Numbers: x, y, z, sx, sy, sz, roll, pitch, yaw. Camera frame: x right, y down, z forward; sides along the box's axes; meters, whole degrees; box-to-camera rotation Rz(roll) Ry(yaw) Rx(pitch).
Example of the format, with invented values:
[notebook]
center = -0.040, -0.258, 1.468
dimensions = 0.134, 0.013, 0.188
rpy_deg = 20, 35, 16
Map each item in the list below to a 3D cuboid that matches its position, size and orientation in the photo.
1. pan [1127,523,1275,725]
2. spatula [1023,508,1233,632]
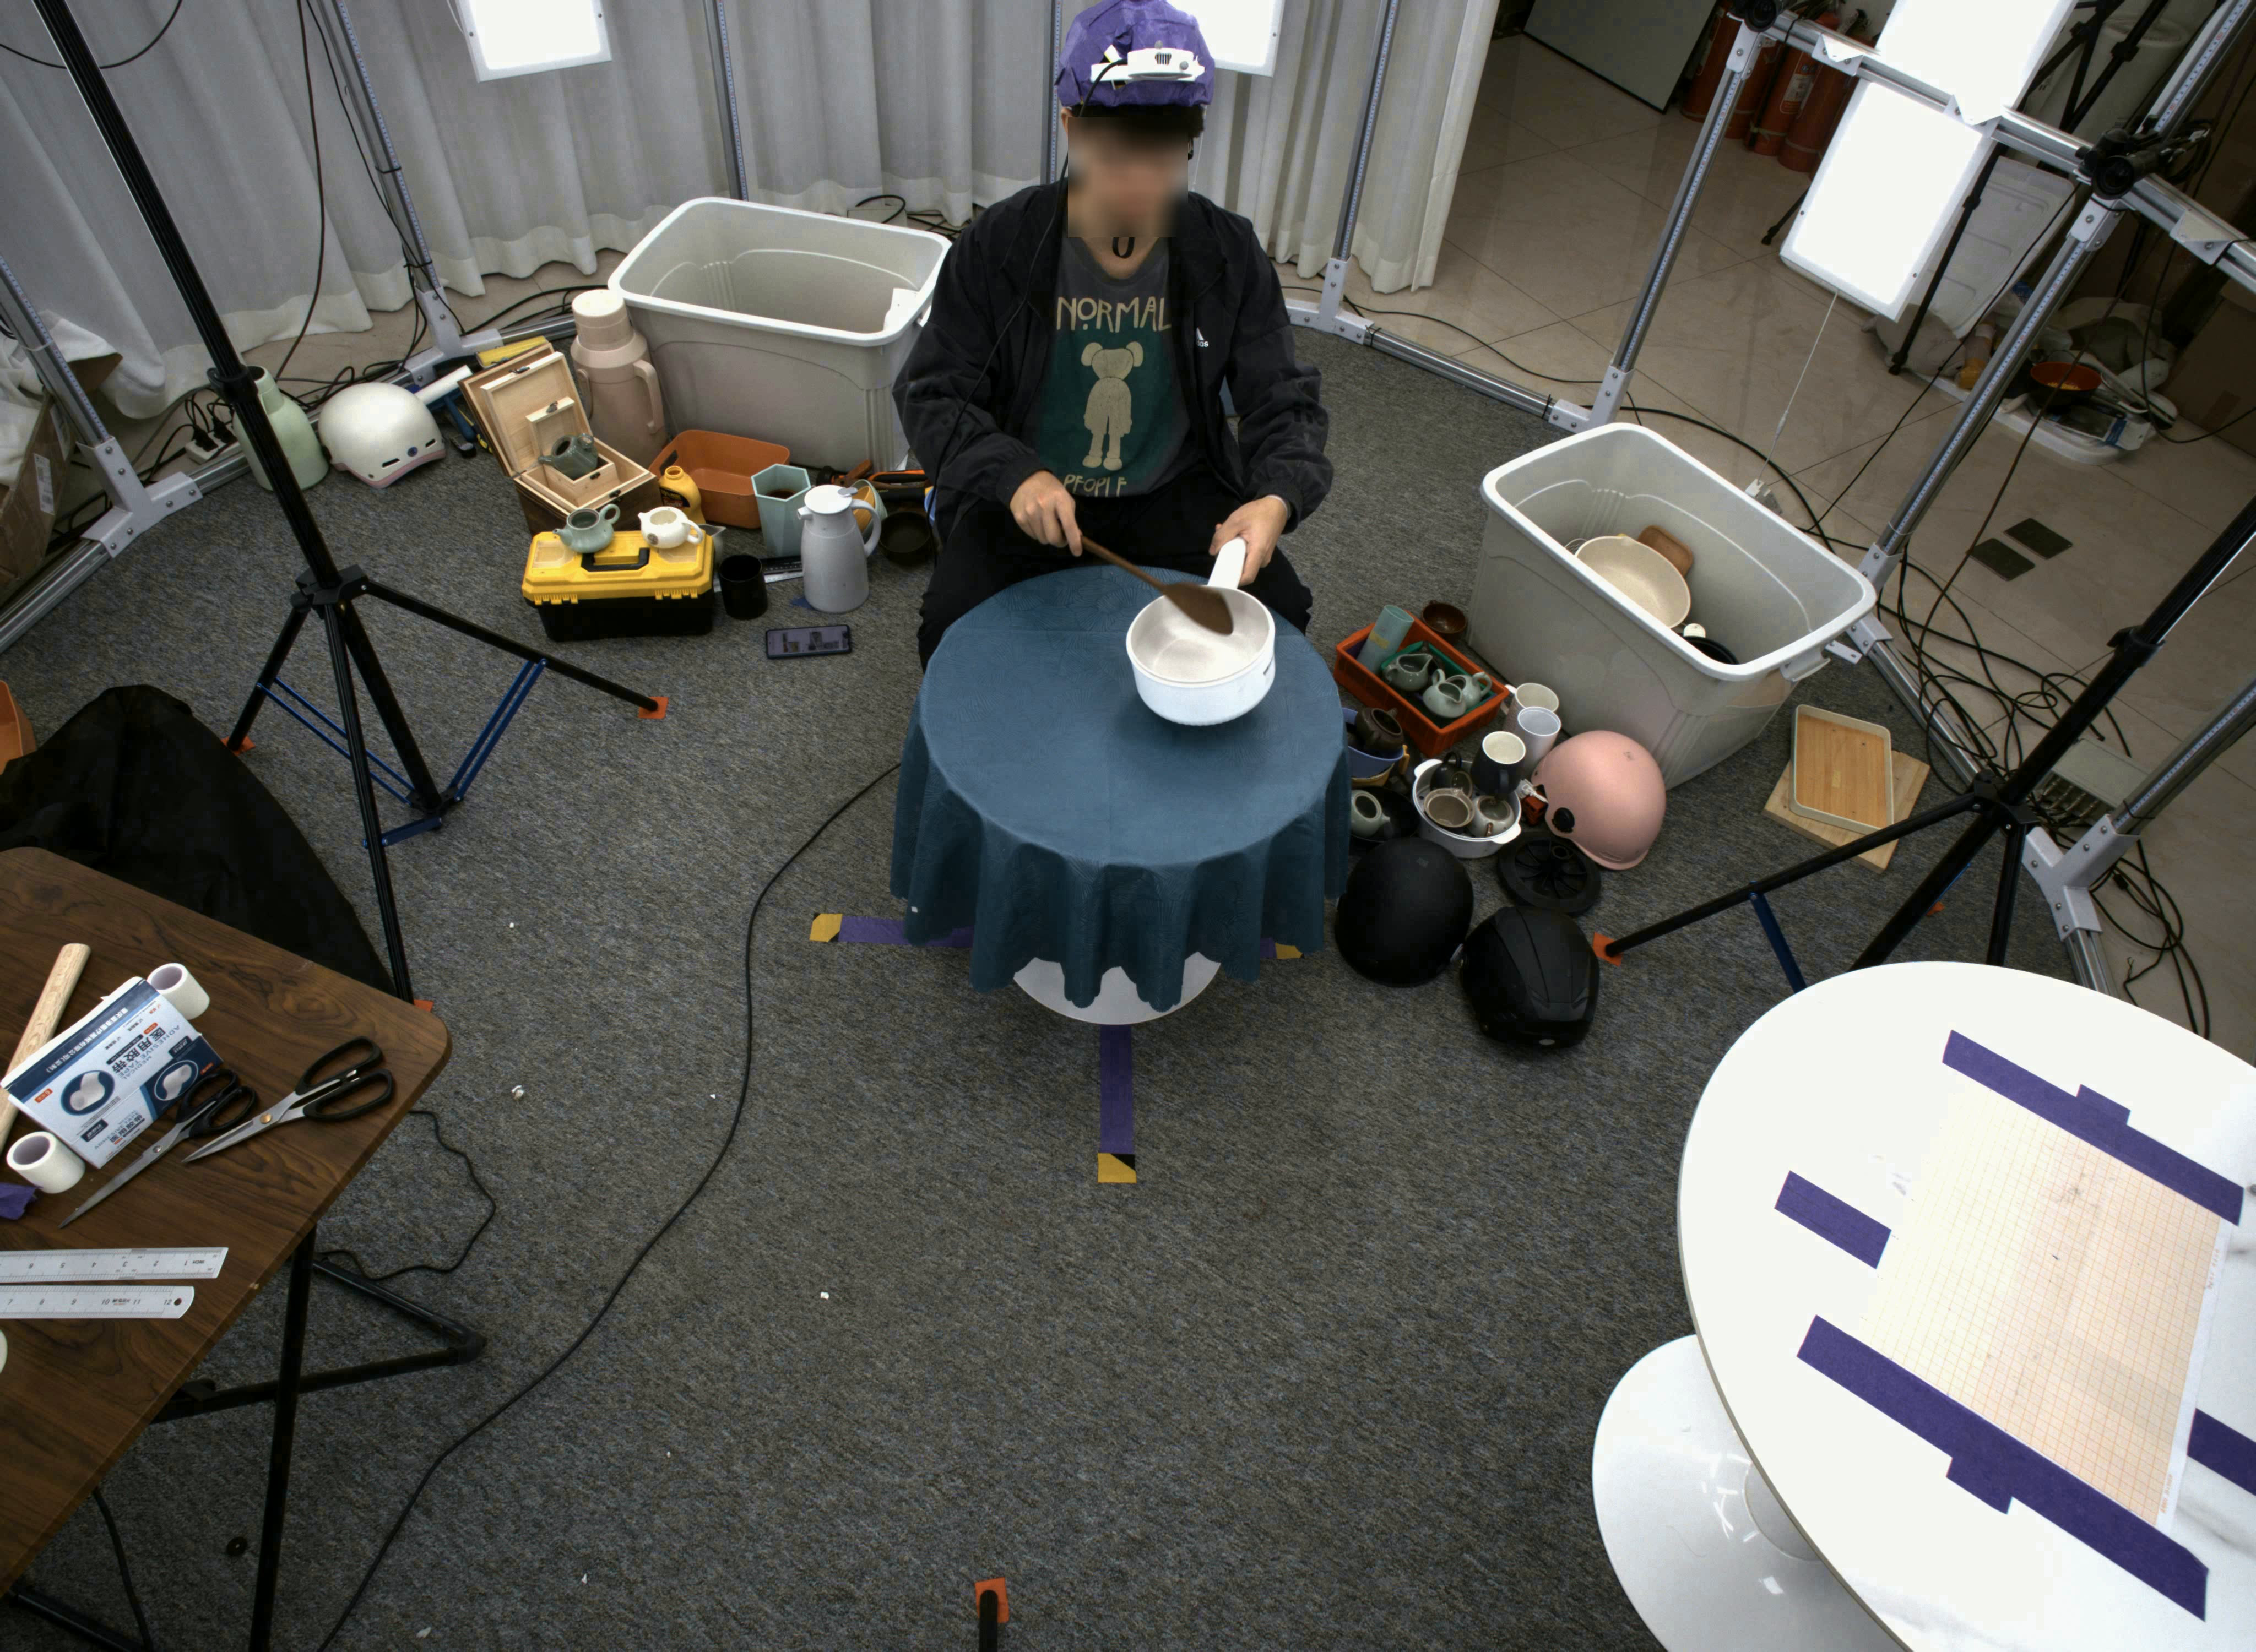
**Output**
[pan]
center = 0.126, -0.286, 1.817
dimensions = 0.202, 0.099, 0.362
rpy_deg = 6, 48, 18
[spatula]
center = -0.006, -0.372, 1.811
dimensions = 0.391, 0.094, 0.016
rpy_deg = 33, 72, 29
